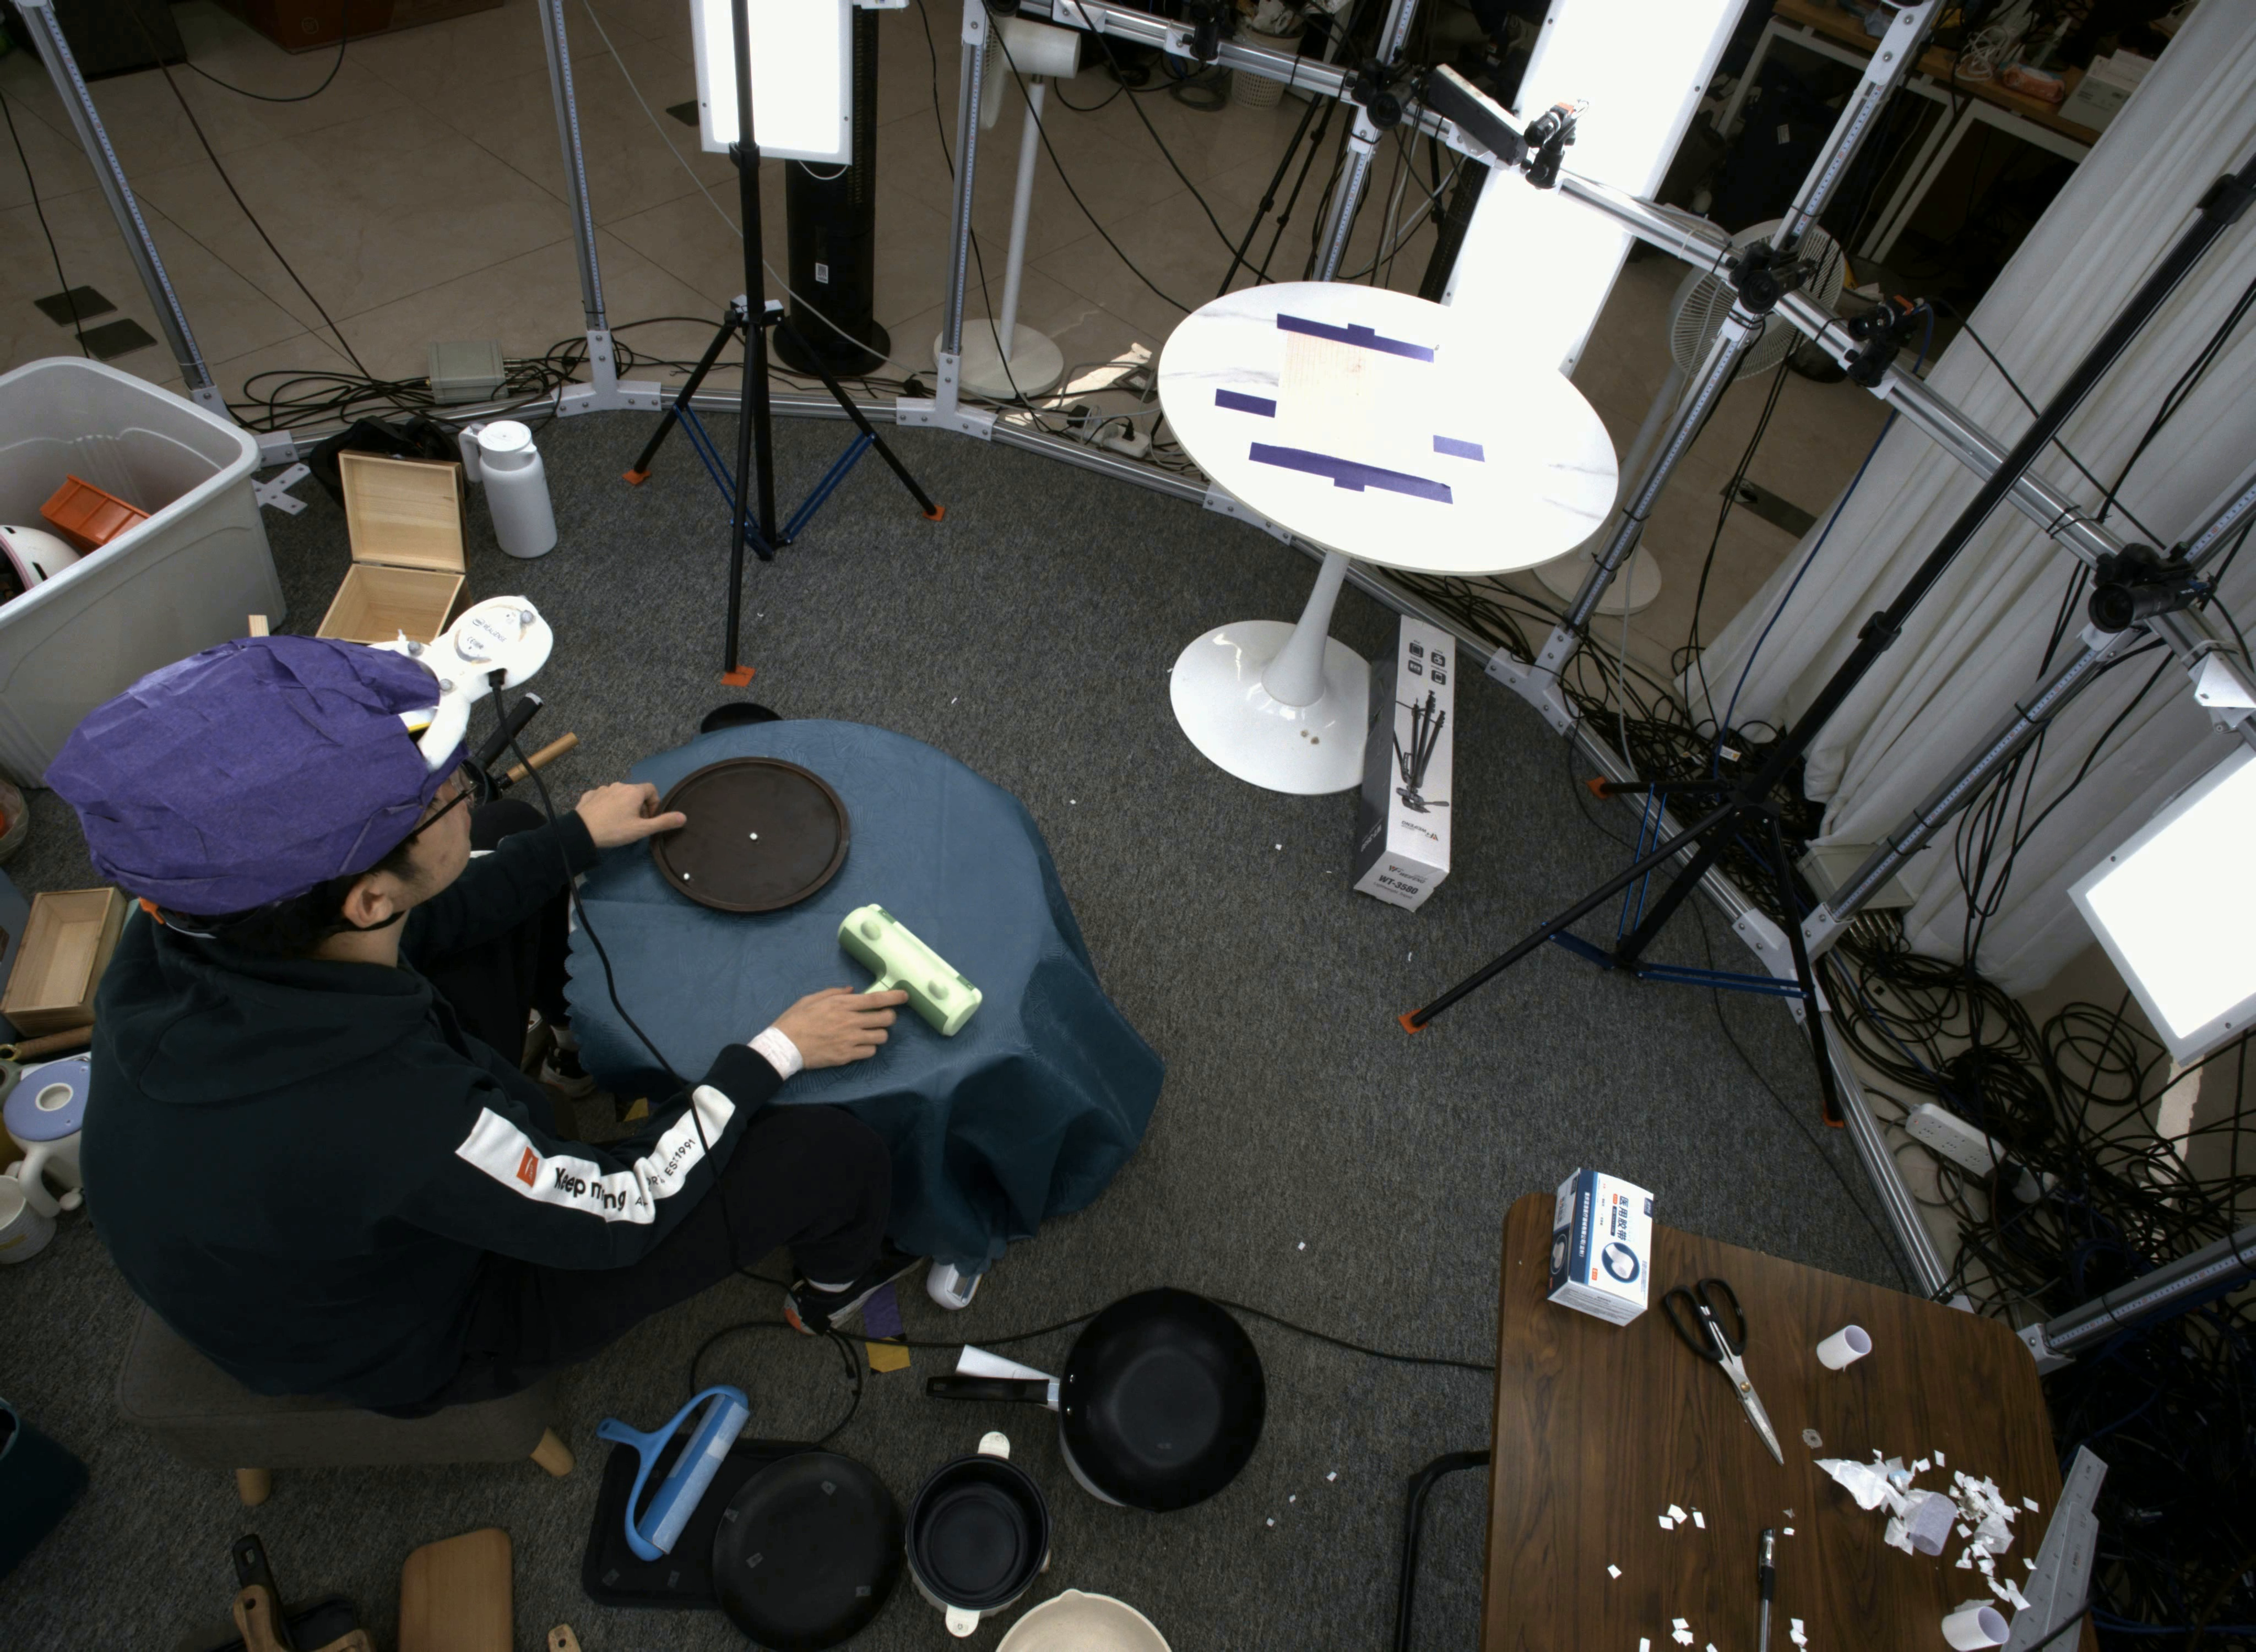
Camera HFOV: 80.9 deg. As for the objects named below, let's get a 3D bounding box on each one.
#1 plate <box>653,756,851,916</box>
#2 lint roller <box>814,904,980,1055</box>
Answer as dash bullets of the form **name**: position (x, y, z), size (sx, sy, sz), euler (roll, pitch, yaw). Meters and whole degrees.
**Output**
- **plate**: position (-0.490, 0.010, 1.689), size (0.255, 0.029, 0.250), euler (9, 53, -10)
- **lint roller**: position (-0.306, 0.198, 1.564), size (0.194, 0.084, 0.183), euler (38, 51, 15)
